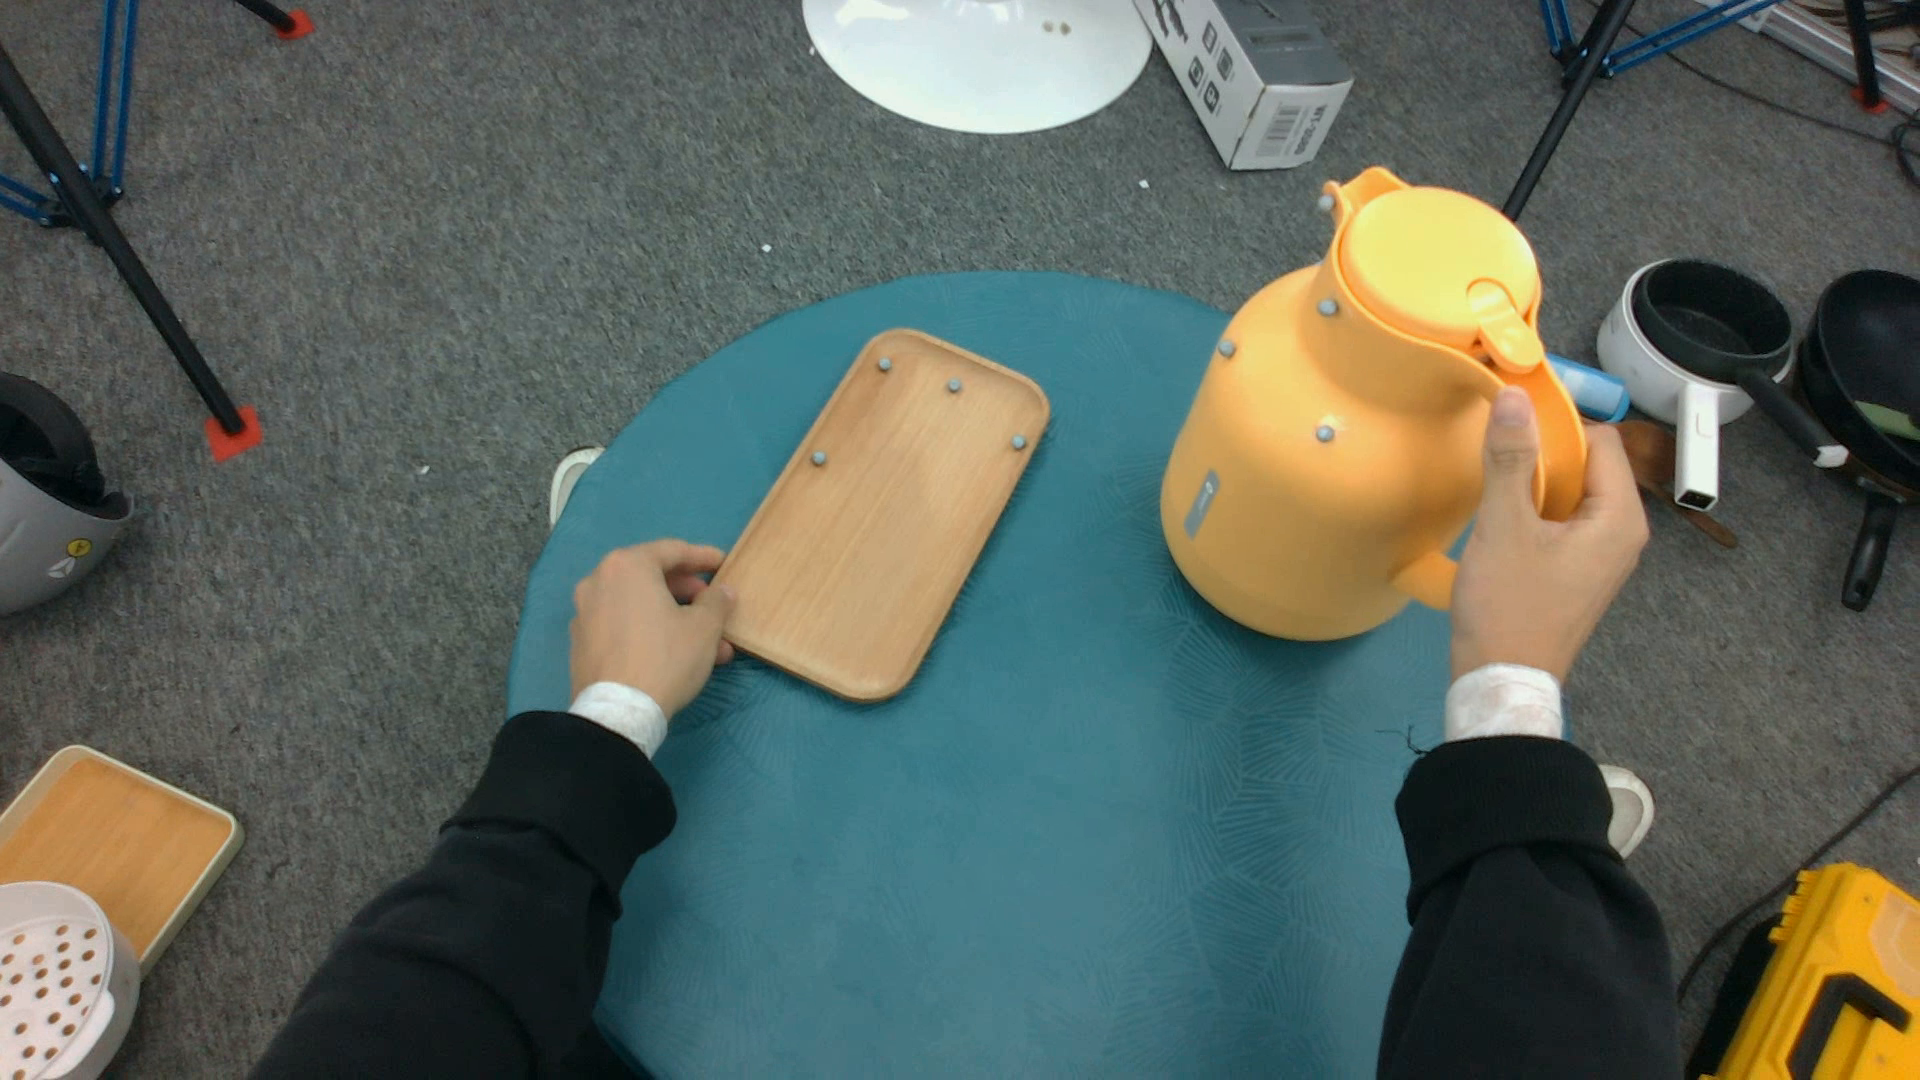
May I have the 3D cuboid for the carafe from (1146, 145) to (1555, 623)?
[{"bbox_3d":[0.204,-0.061,0.723,0.164,0.259,0.203,-20,61,-15],"label":"carafe"}]

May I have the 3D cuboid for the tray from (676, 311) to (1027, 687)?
[{"bbox_3d":[-0.058,-0.031,0.815,0.130,0.023,0.252,23,59,10],"label":"tray"}]
